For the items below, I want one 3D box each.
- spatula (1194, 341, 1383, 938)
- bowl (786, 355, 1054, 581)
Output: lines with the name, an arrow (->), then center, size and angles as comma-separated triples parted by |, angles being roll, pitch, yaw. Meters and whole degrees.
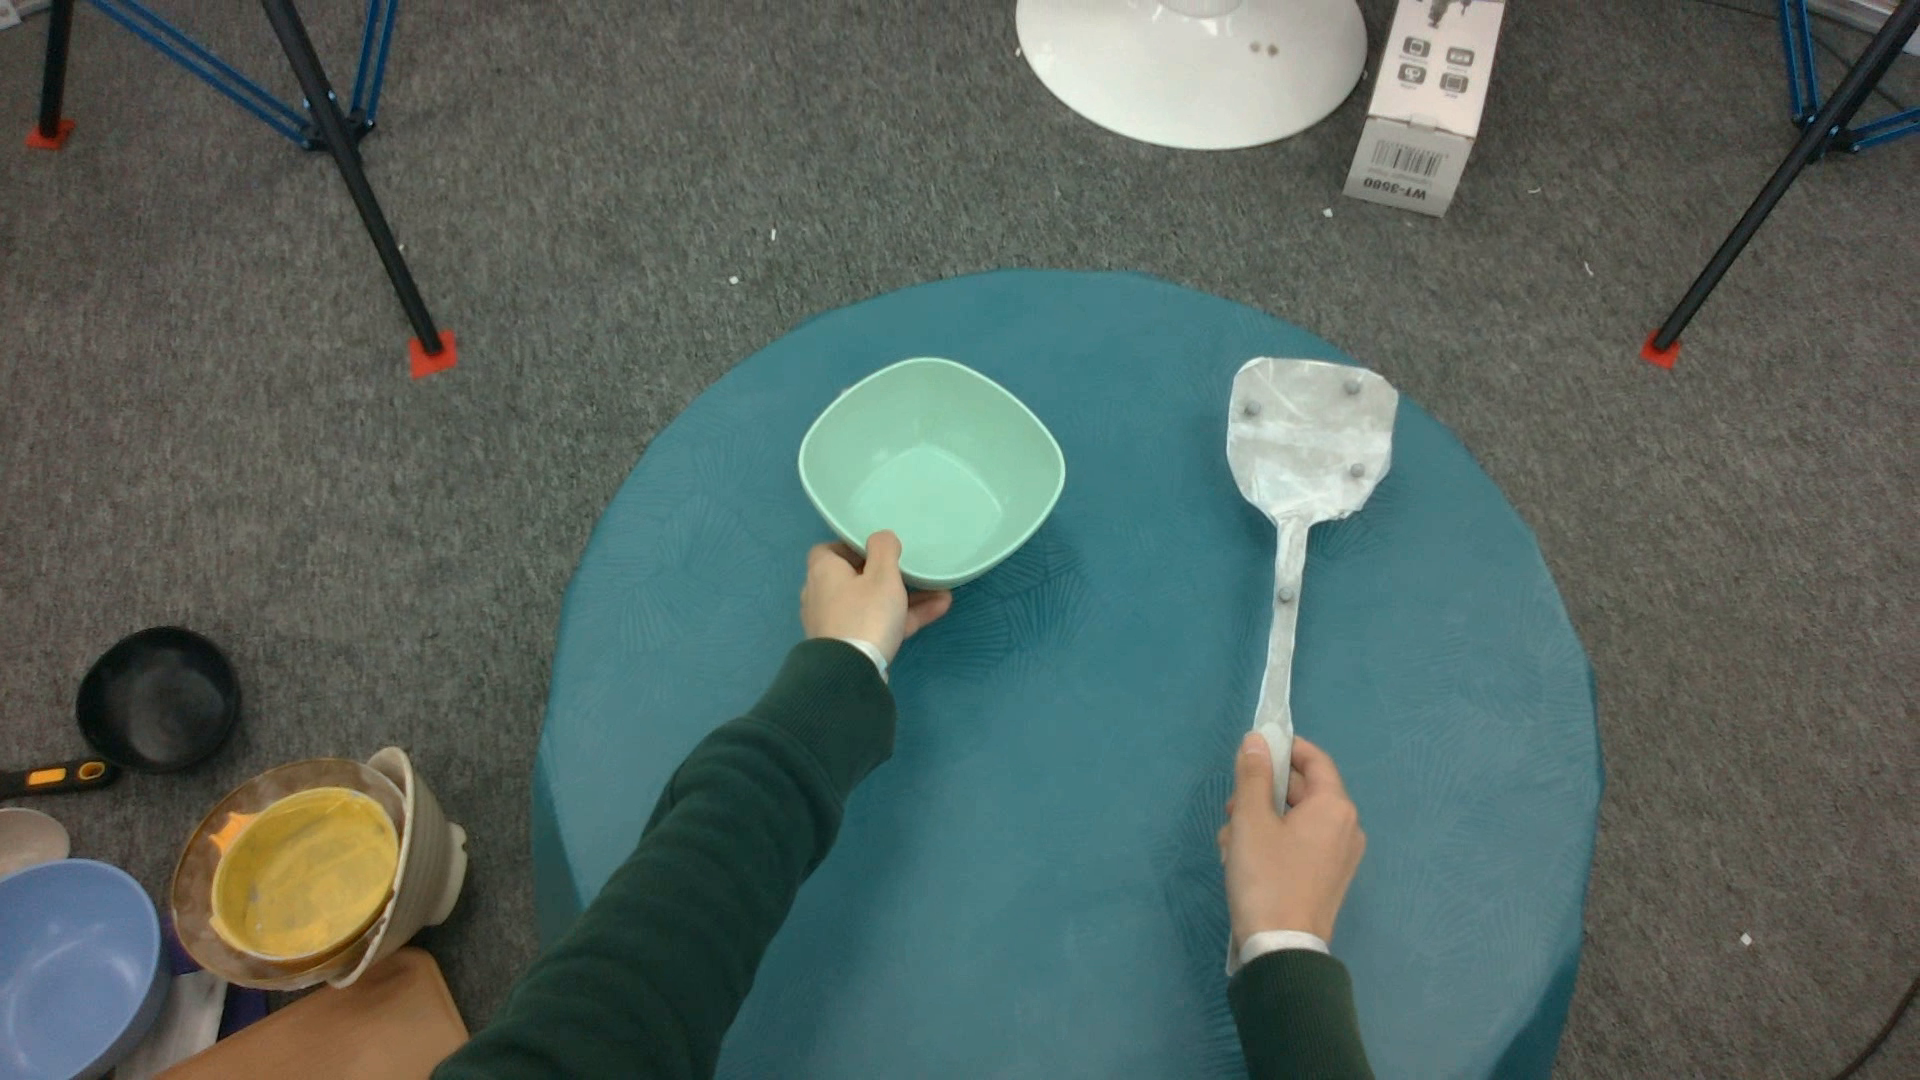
spatula -> 0.170, 0.040, 0.762 | 0.098, 0.044, 0.366 | 12, 57, 7
bowl -> -0.024, -0.032, 0.796 | 0.151, 0.058, 0.152 | 3, 55, -4
